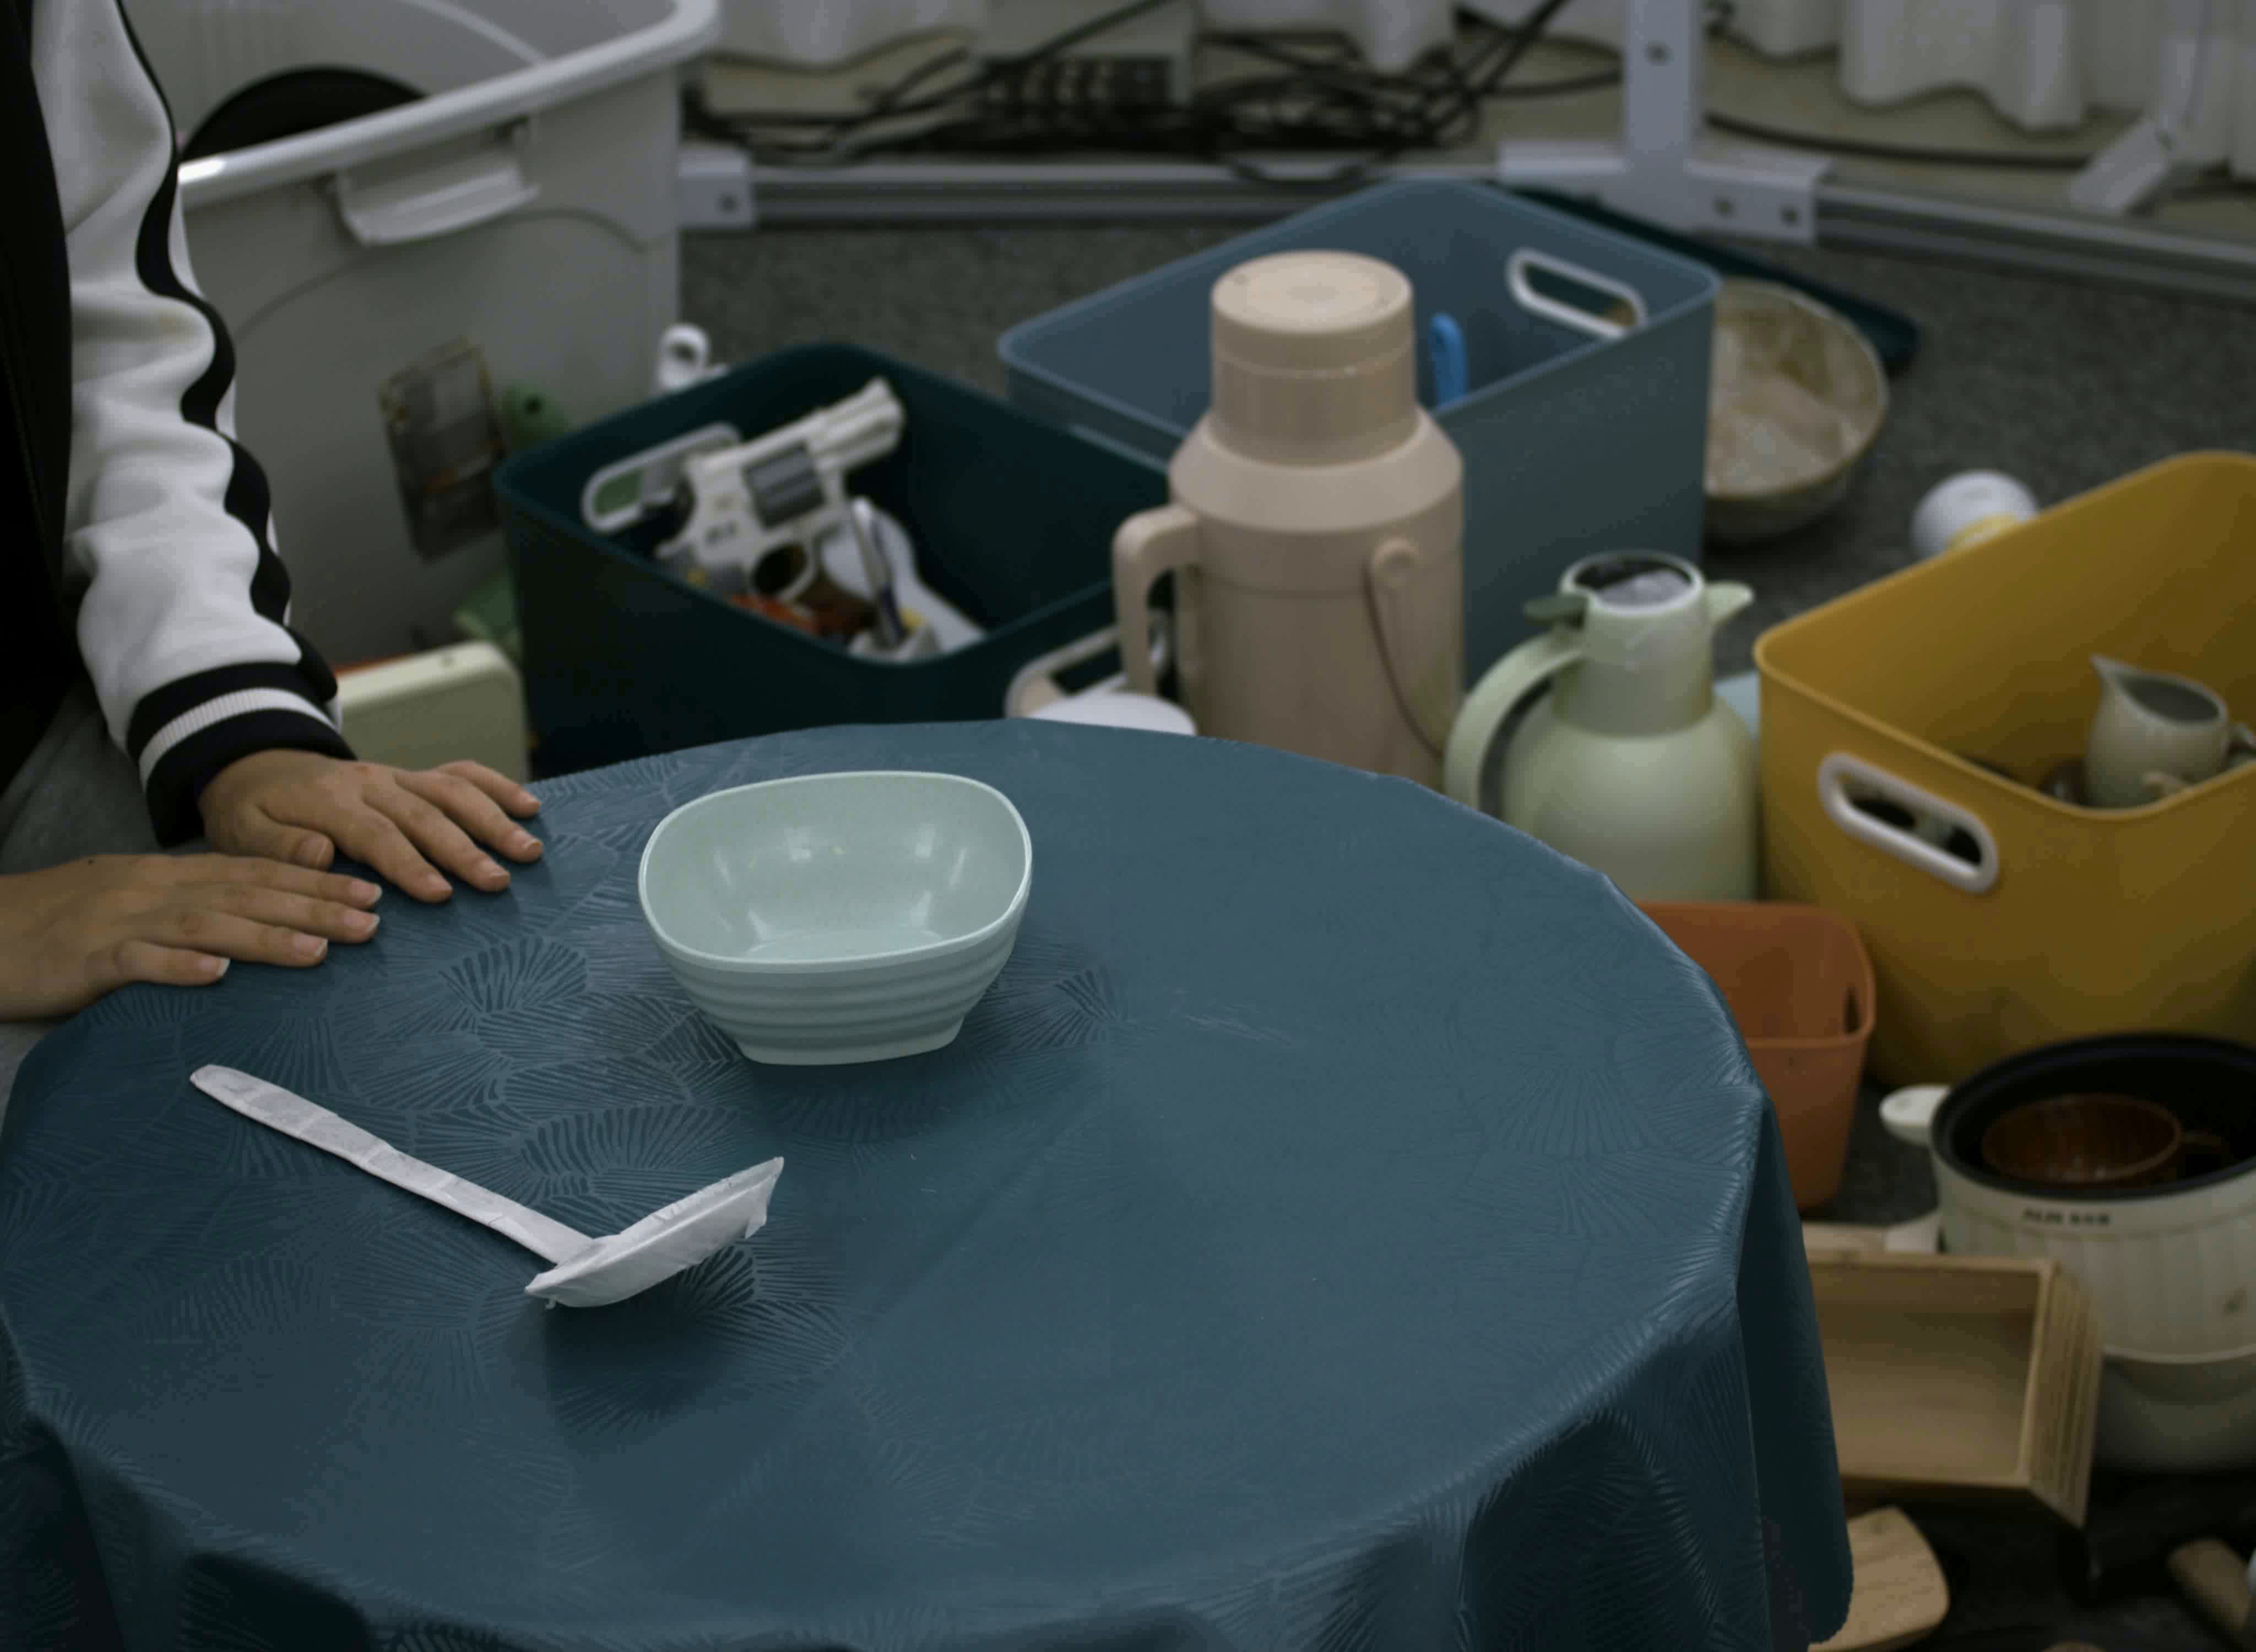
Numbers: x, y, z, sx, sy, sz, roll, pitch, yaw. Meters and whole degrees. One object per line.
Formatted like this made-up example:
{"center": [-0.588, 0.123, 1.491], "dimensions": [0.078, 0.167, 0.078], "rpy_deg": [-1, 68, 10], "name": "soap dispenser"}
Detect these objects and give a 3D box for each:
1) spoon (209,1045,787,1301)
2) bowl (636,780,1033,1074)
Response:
{"center": [-0.219, 0.098, 1.868], "dimensions": [0.102, 0.059, 0.277], "rpy_deg": [-21, 32, -40], "name": "spoon"}
{"center": [-0.101, 0.041, 1.971], "dimensions": [0.151, 0.058, 0.154], "rpy_deg": [-2, 27, 2], "name": "bowl"}
